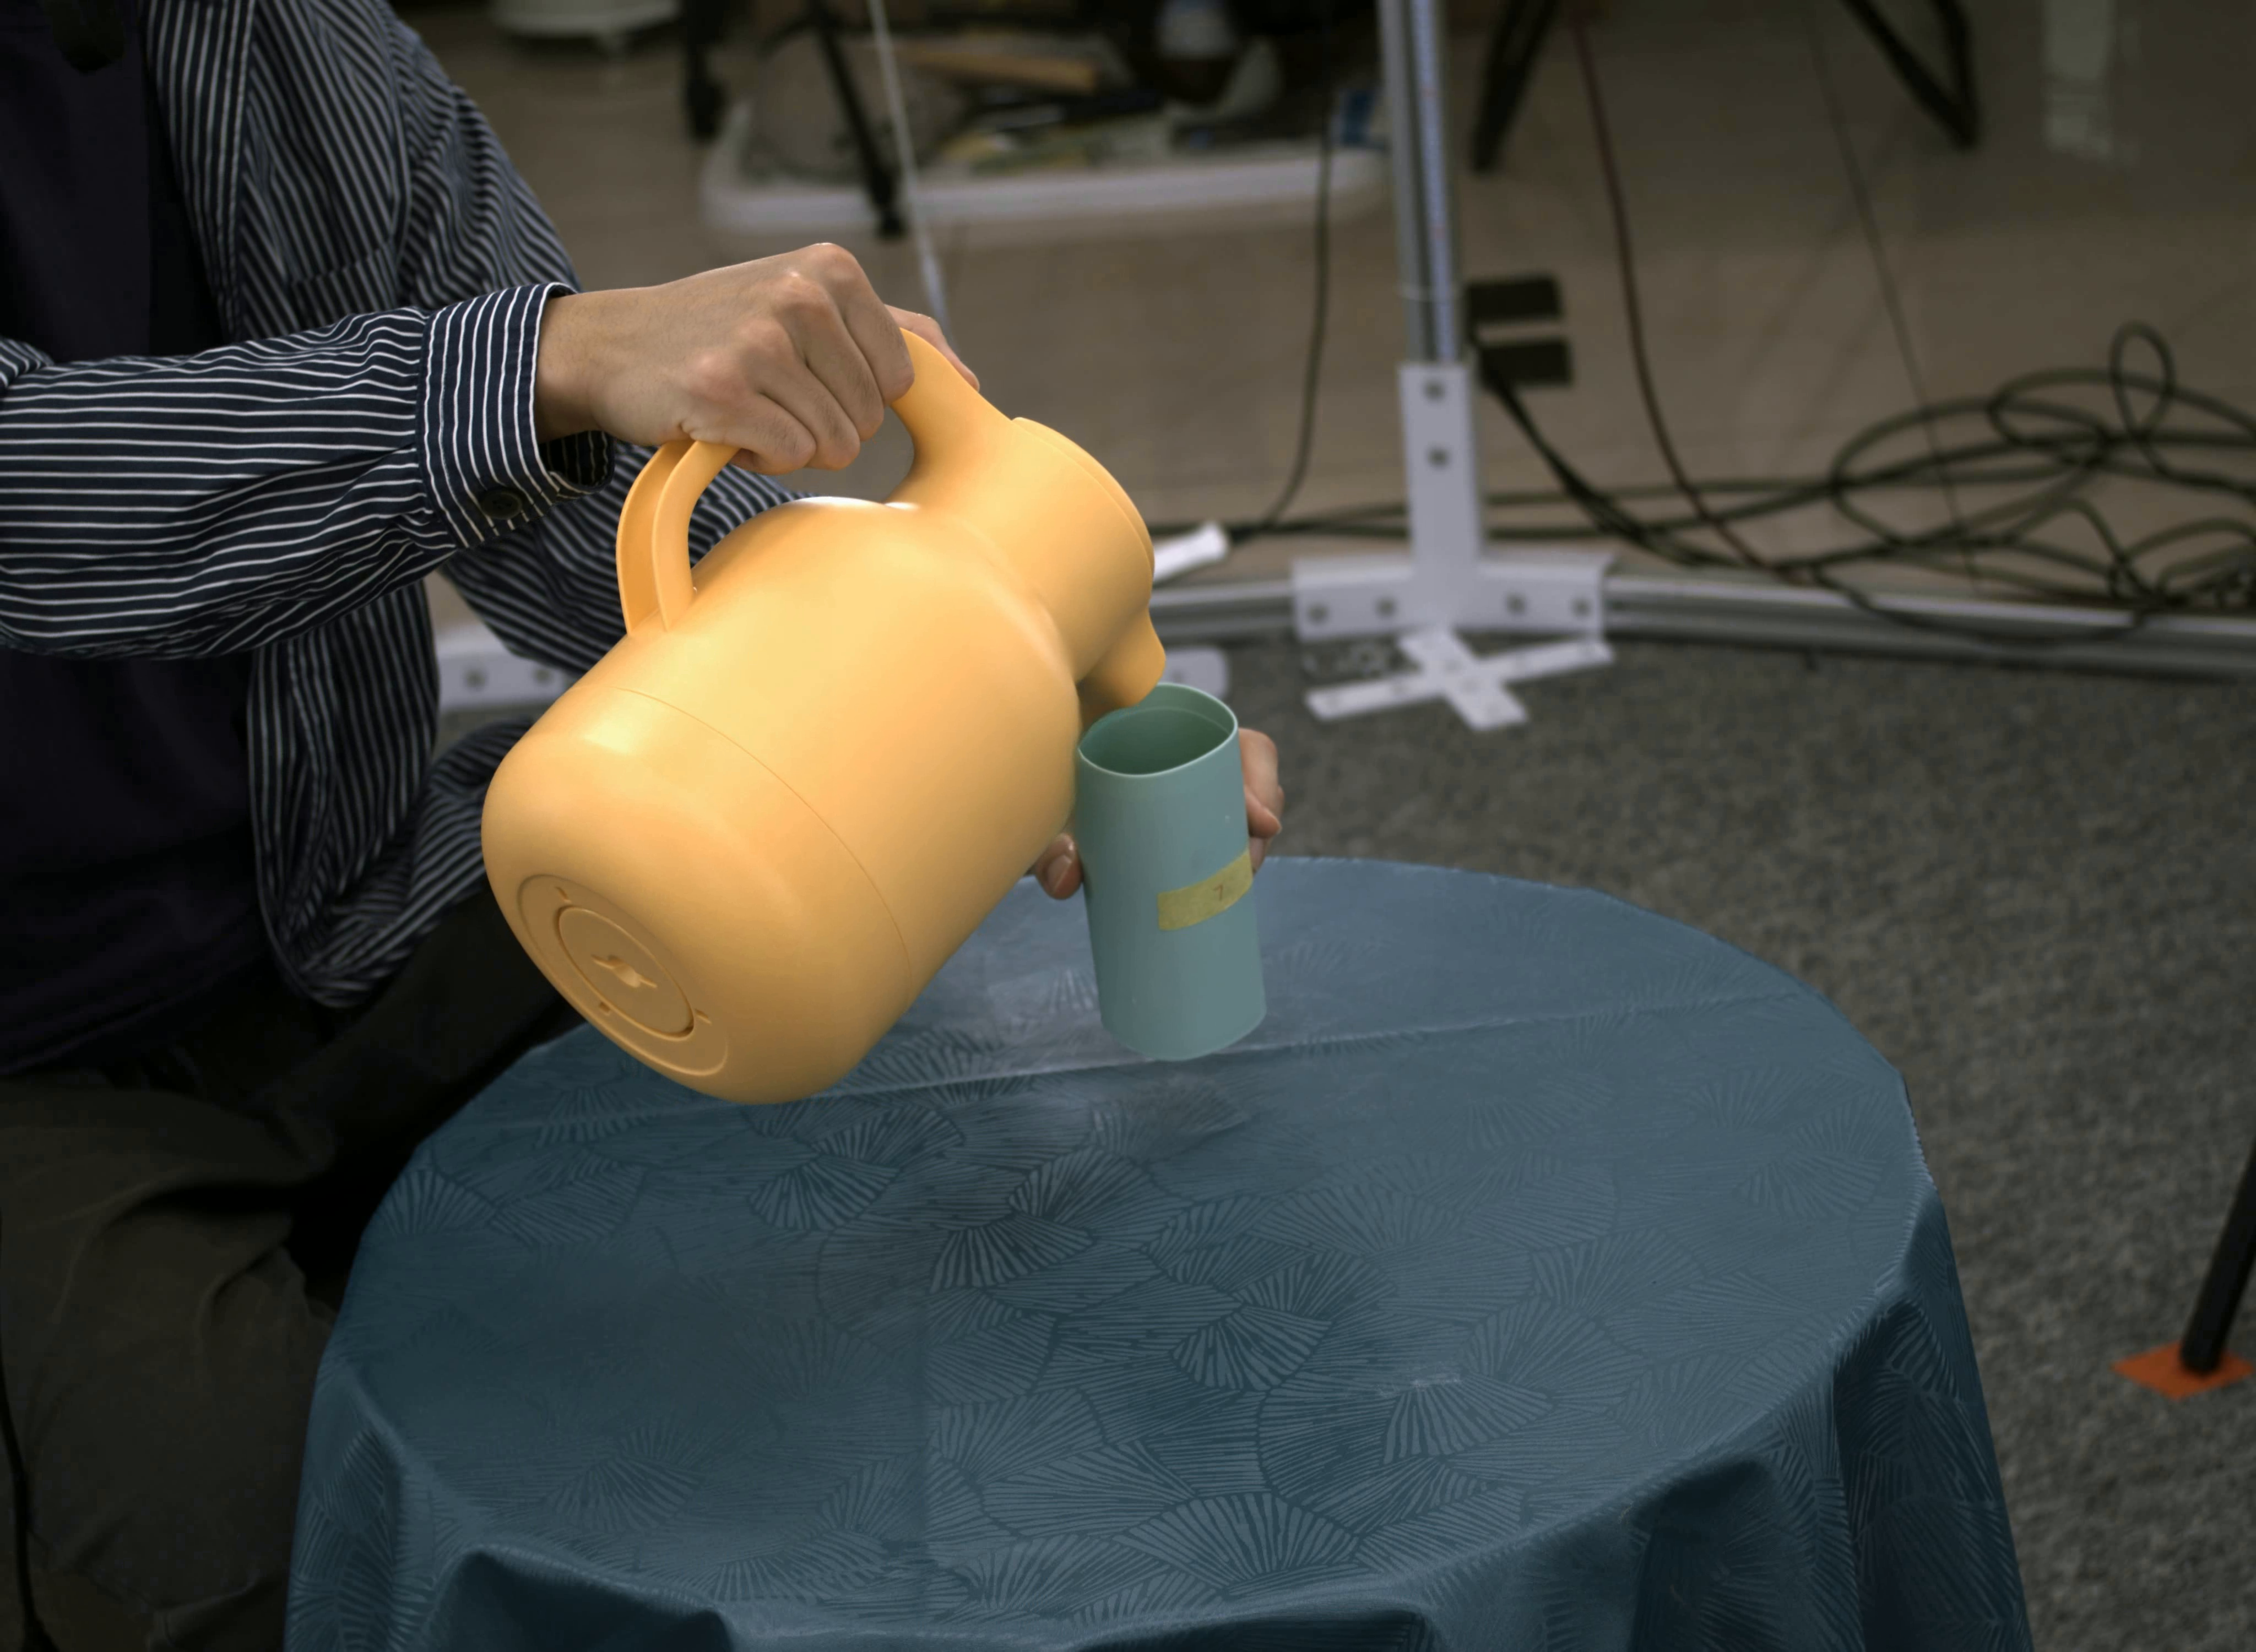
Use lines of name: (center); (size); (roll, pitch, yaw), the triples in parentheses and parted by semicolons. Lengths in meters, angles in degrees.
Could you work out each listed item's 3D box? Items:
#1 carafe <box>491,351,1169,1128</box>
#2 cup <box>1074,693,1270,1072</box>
carafe: (-0.107, -0.040, 2.015); (0.163, 0.205, 0.257); (2, 44, 53)
cup: (0.015, 0.021, 2.155); (0.066, 0.135, 0.065); (-5, 35, 4)
